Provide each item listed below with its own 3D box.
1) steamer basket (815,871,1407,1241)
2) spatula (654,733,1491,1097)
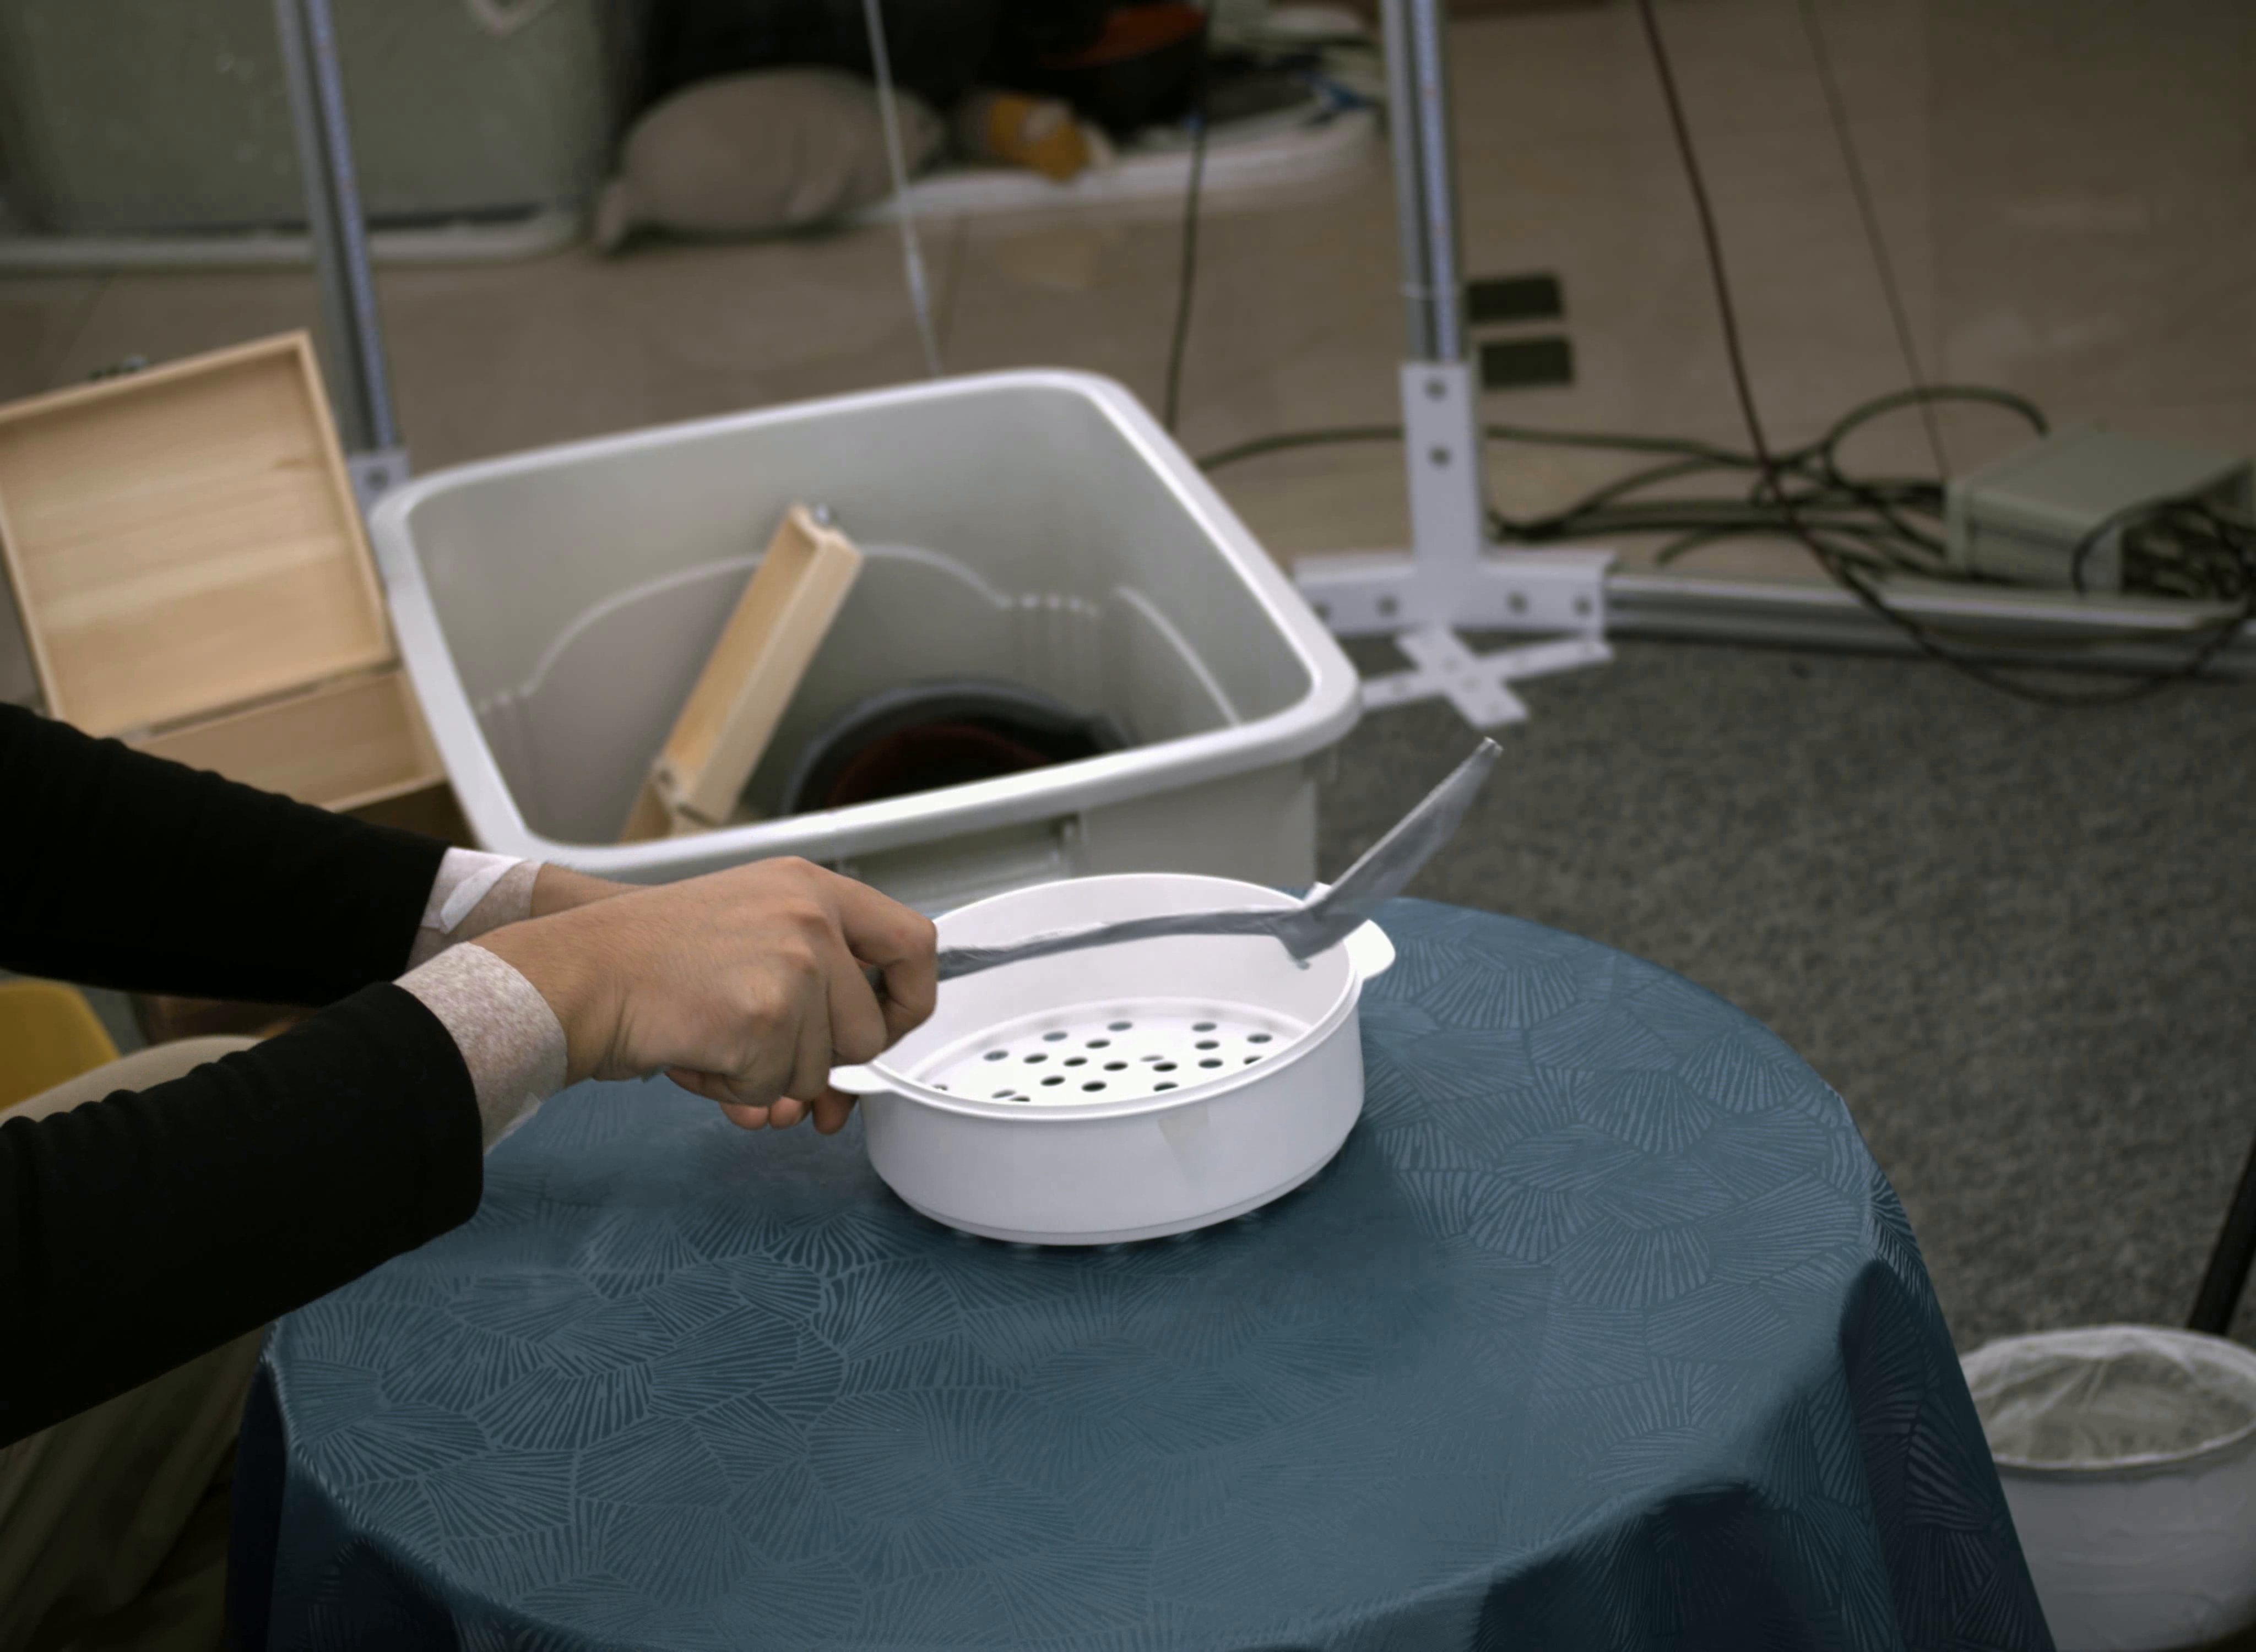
[{"bbox_3d":[-0.002,0.089,2.173,0.230,0.070,0.199,-13,25,-12],"label":"steamer basket"},{"bbox_3d":[-0.016,0.037,2.006,0.363,0.100,0.044,-12,63,-33],"label":"spatula"}]
